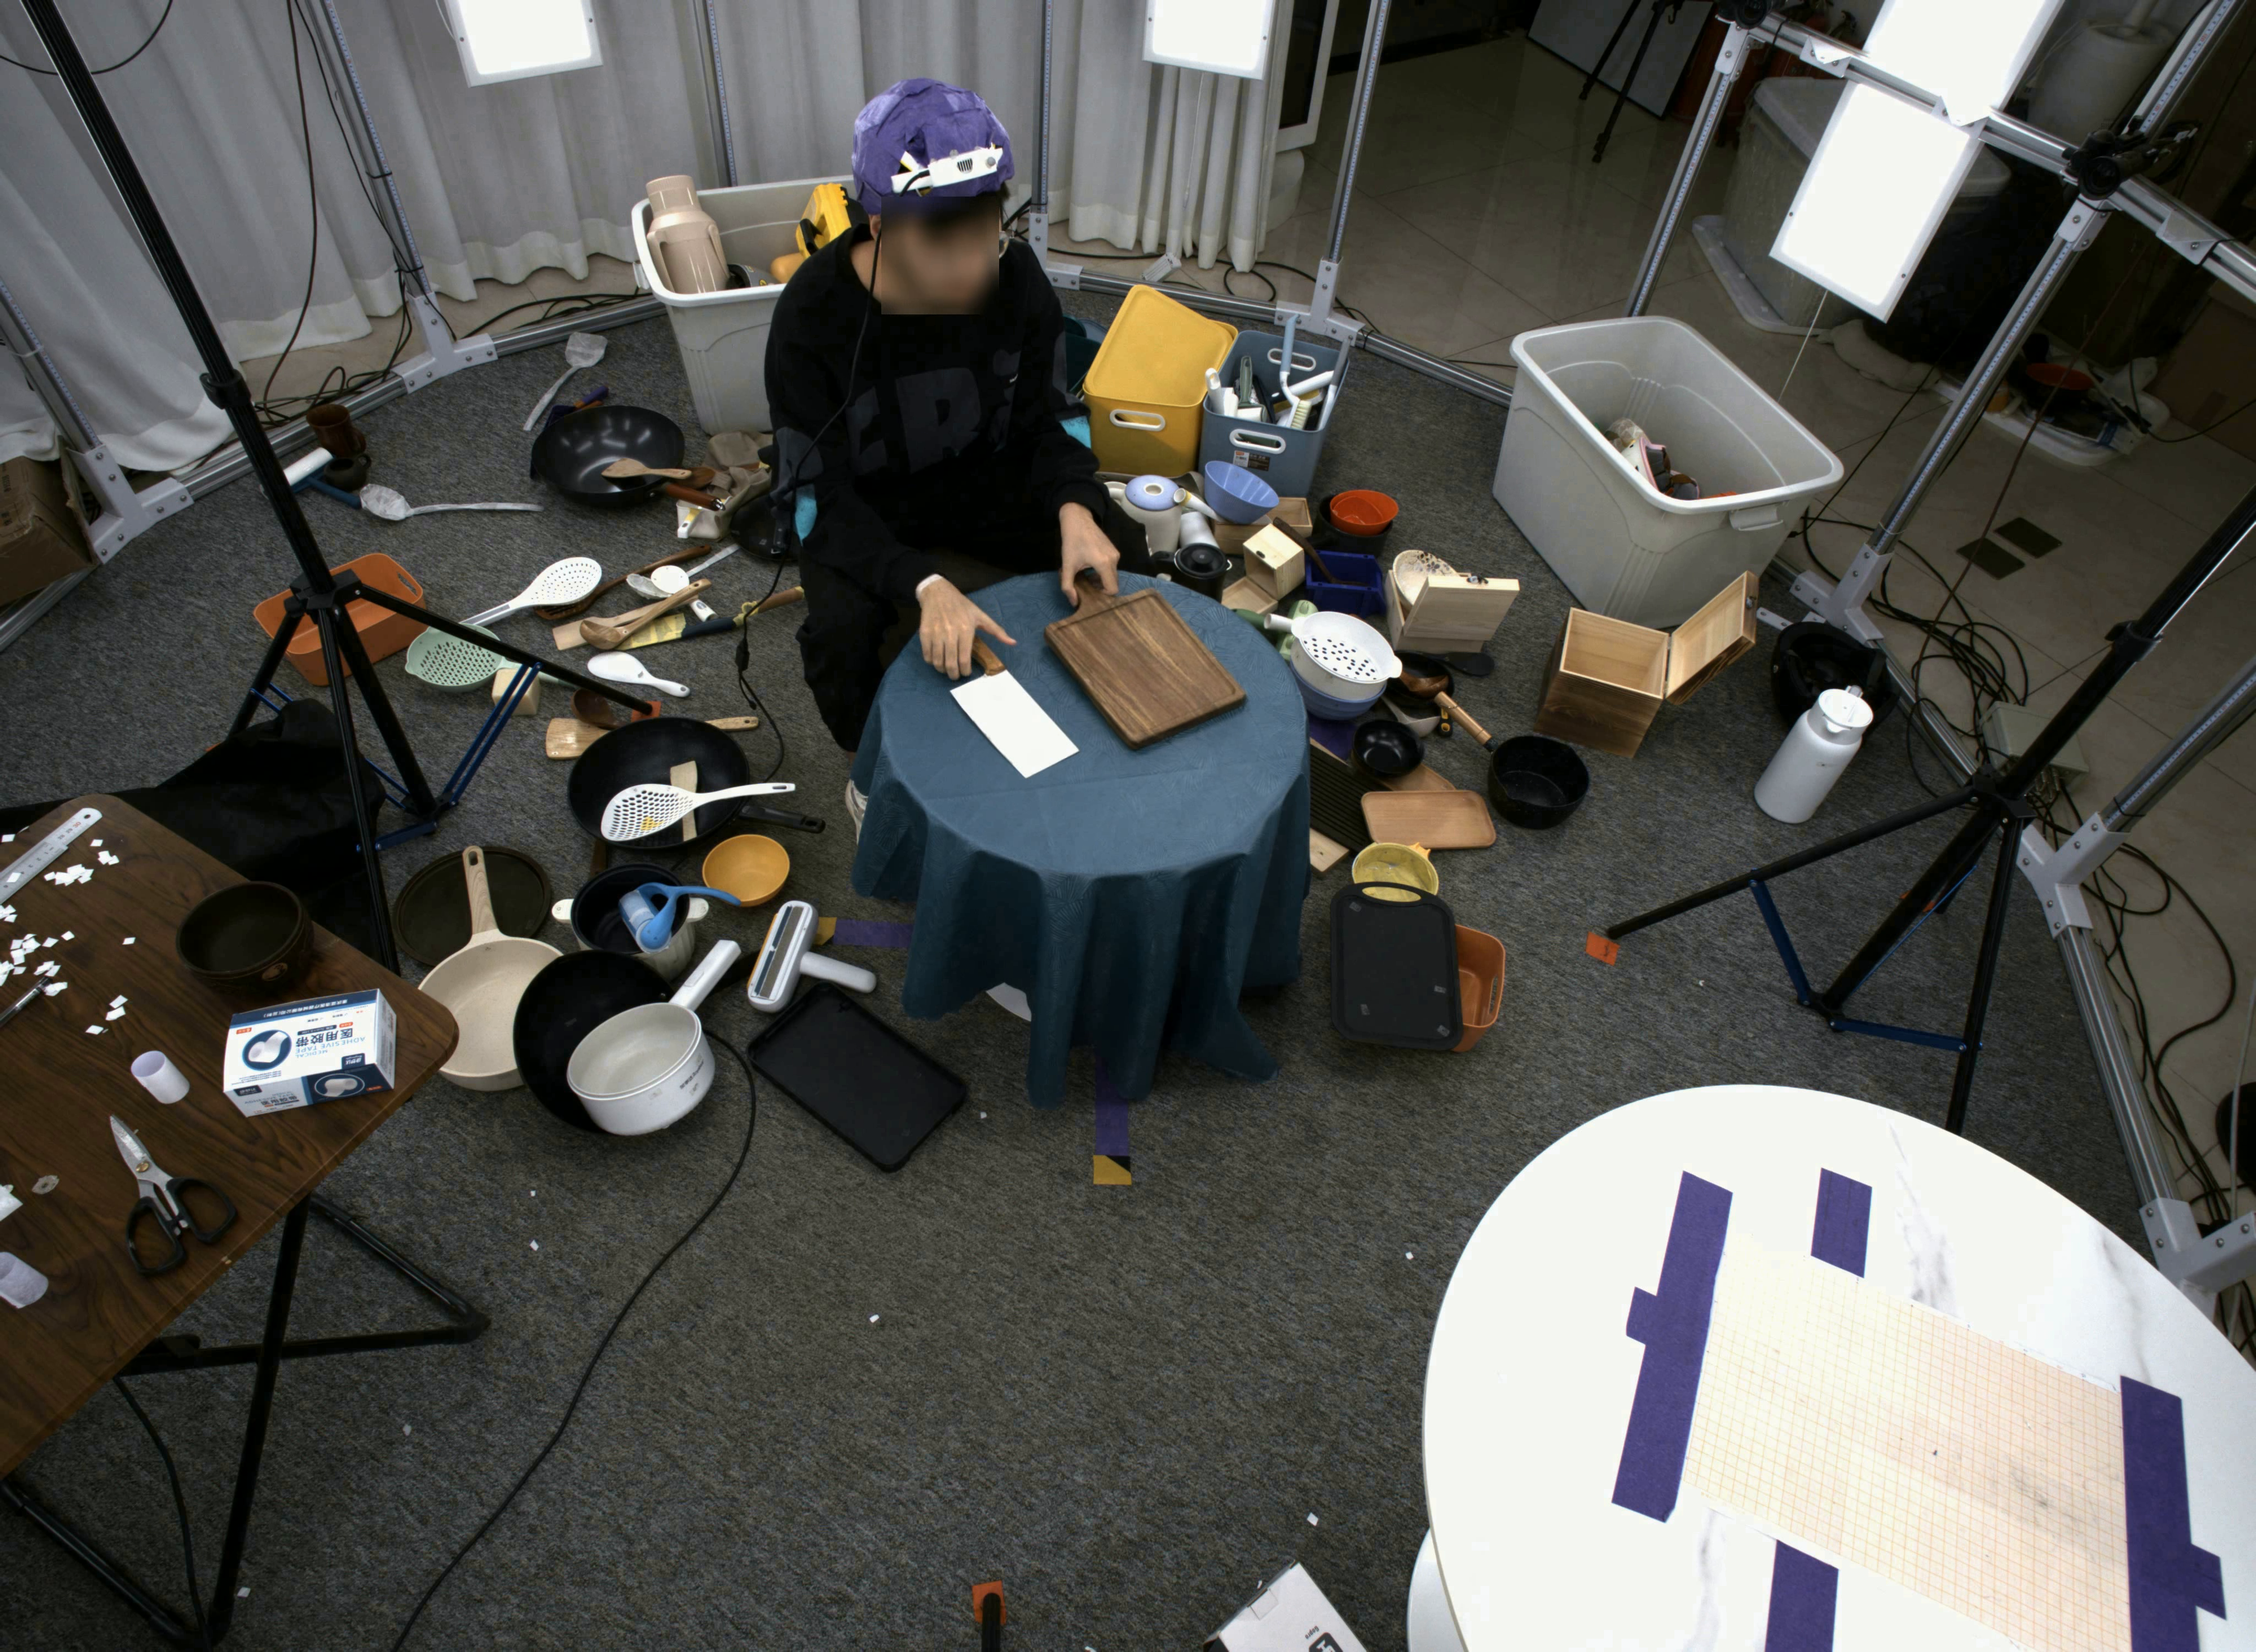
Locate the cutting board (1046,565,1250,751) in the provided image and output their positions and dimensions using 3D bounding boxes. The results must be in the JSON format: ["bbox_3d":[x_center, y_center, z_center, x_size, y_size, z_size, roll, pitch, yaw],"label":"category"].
[{"bbox_3d":[0.001,-0.266,1.873,0.202,0.022,0.359,-24,58,-22],"label":"cutting board"}]

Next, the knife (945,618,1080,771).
[{"bbox_3d":[-0.187,-0.185,1.807,0.093,0.020,0.311,-28,59,-23],"label":"knife"}]
